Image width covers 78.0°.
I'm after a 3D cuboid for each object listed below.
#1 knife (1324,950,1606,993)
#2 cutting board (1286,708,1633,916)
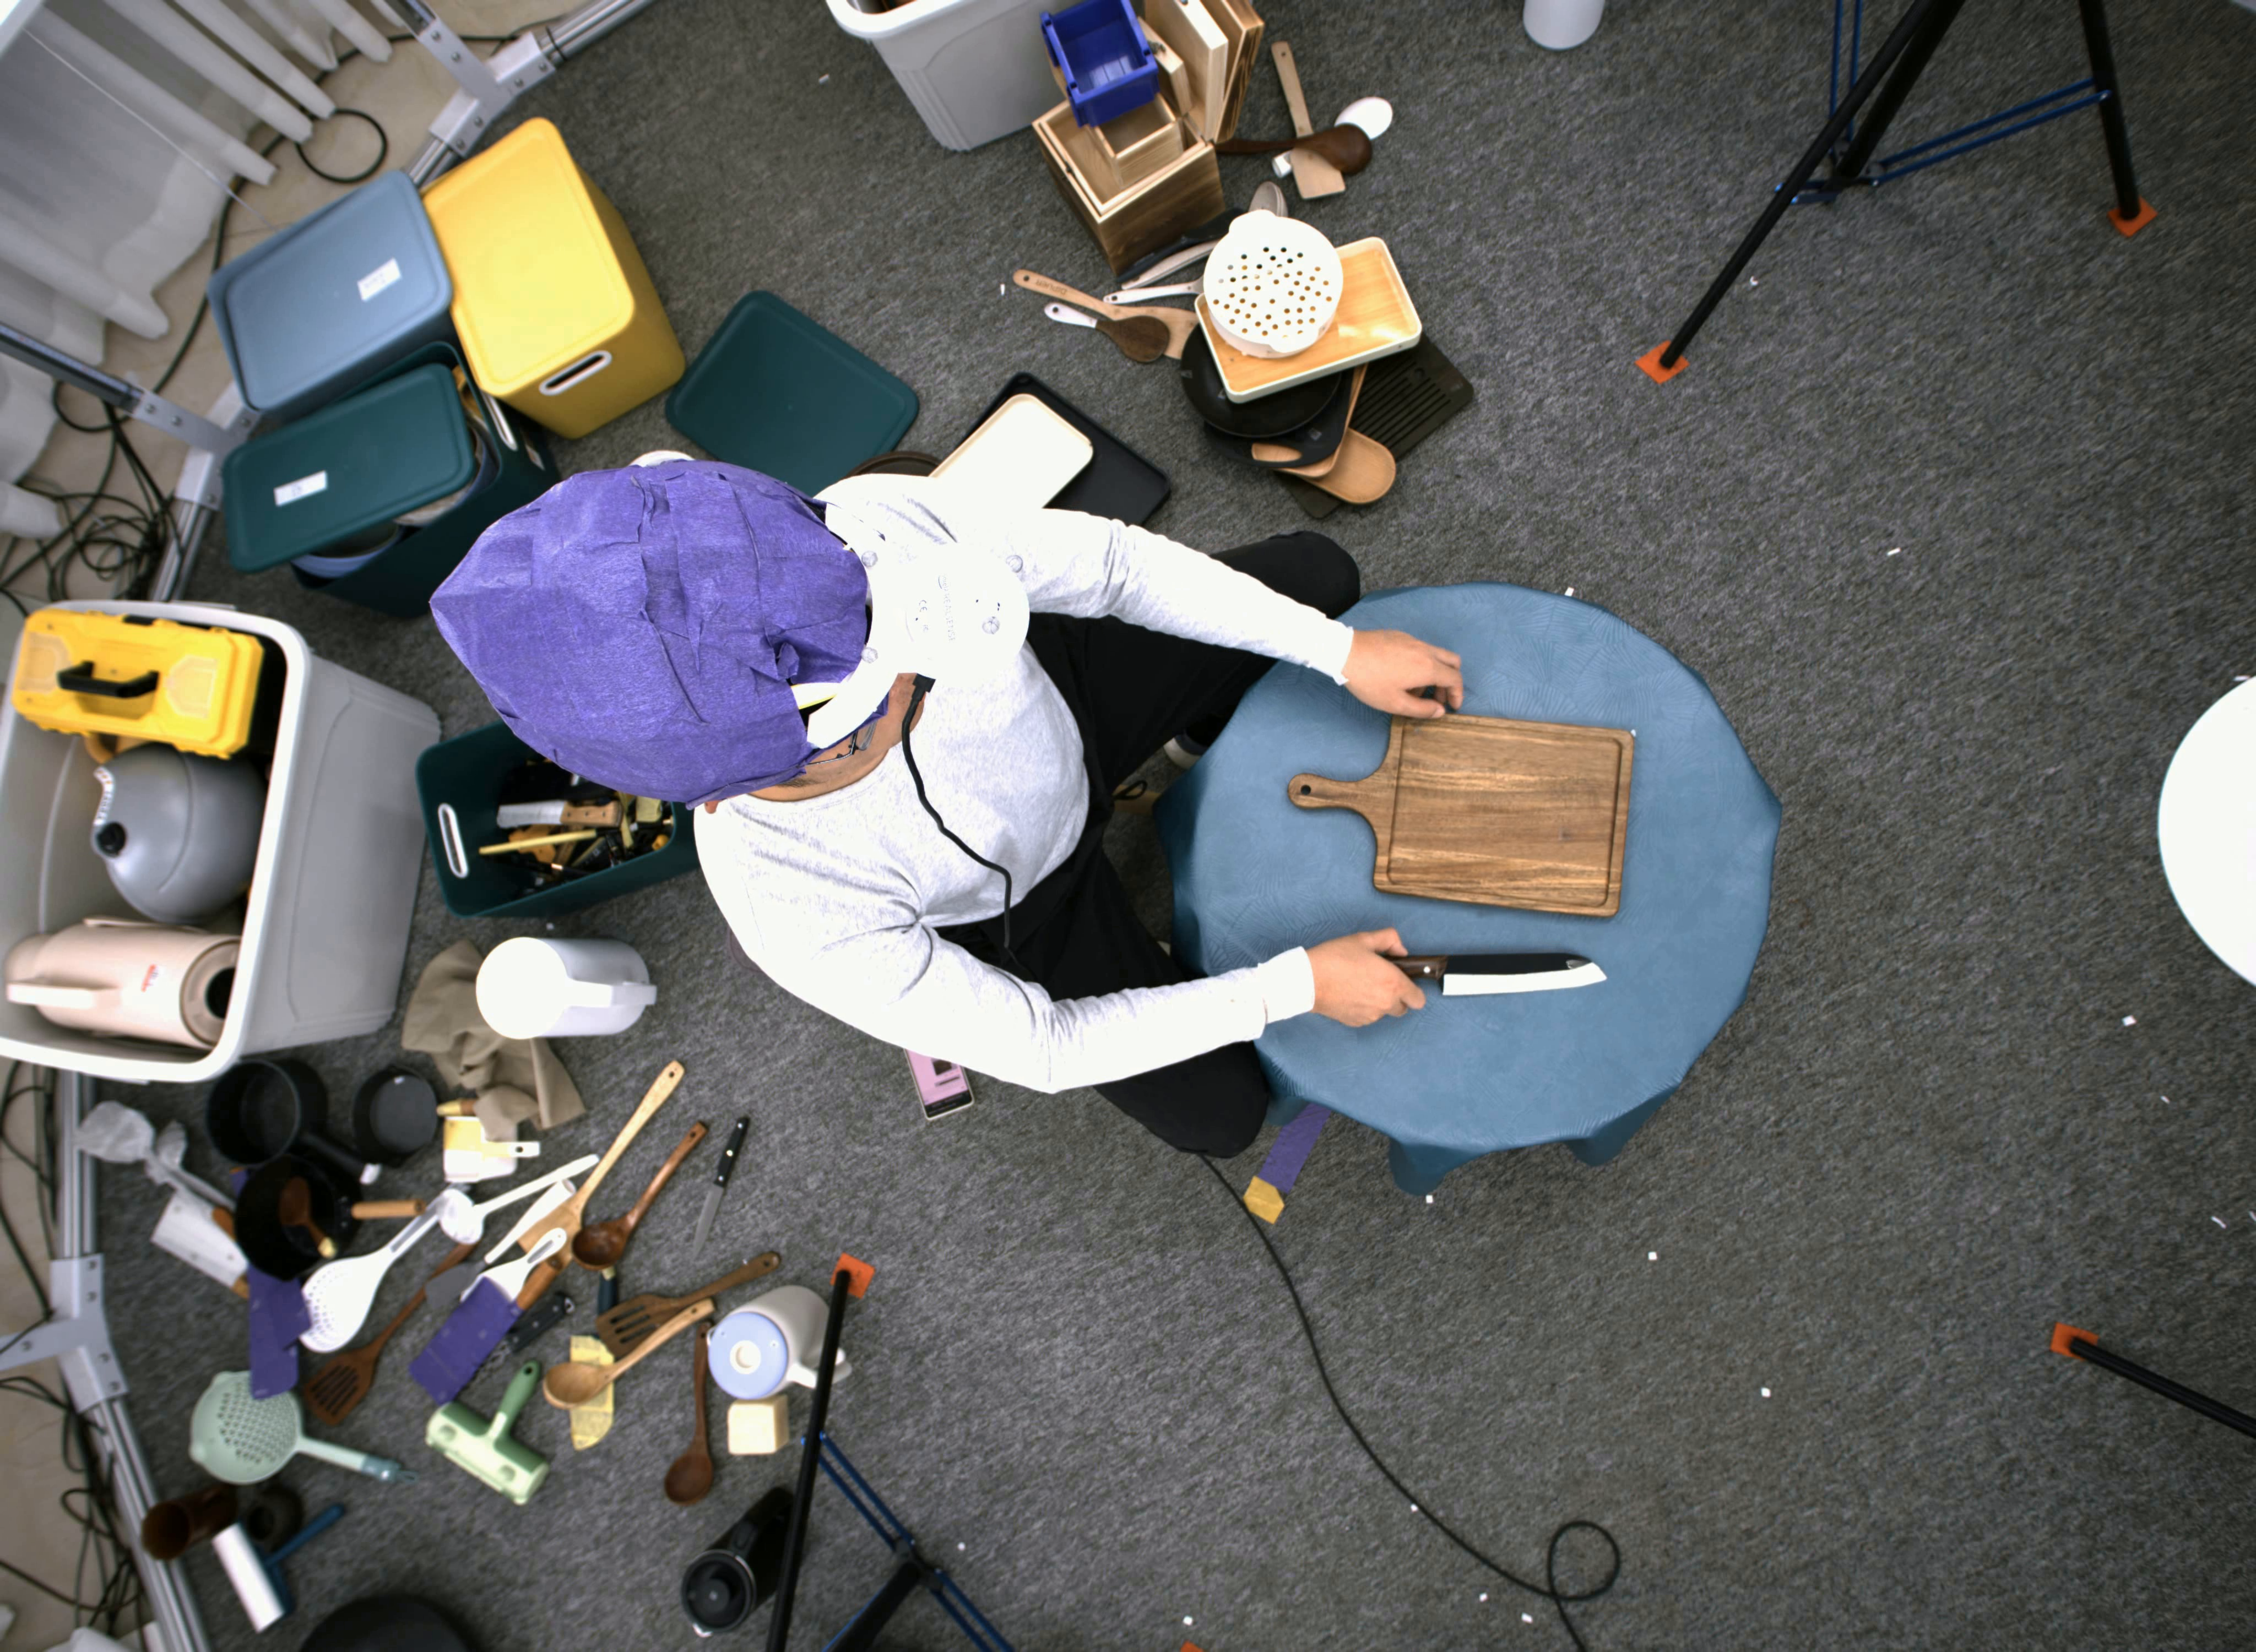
[{"bbox_3d":[0.348,0.147,1.424,0.290,0.019,0.051,0,111,5],"label":"knife"},{"bbox_3d":[0.342,-0.023,1.442,0.353,0.023,0.200,6,87,11],"label":"cutting board"}]
